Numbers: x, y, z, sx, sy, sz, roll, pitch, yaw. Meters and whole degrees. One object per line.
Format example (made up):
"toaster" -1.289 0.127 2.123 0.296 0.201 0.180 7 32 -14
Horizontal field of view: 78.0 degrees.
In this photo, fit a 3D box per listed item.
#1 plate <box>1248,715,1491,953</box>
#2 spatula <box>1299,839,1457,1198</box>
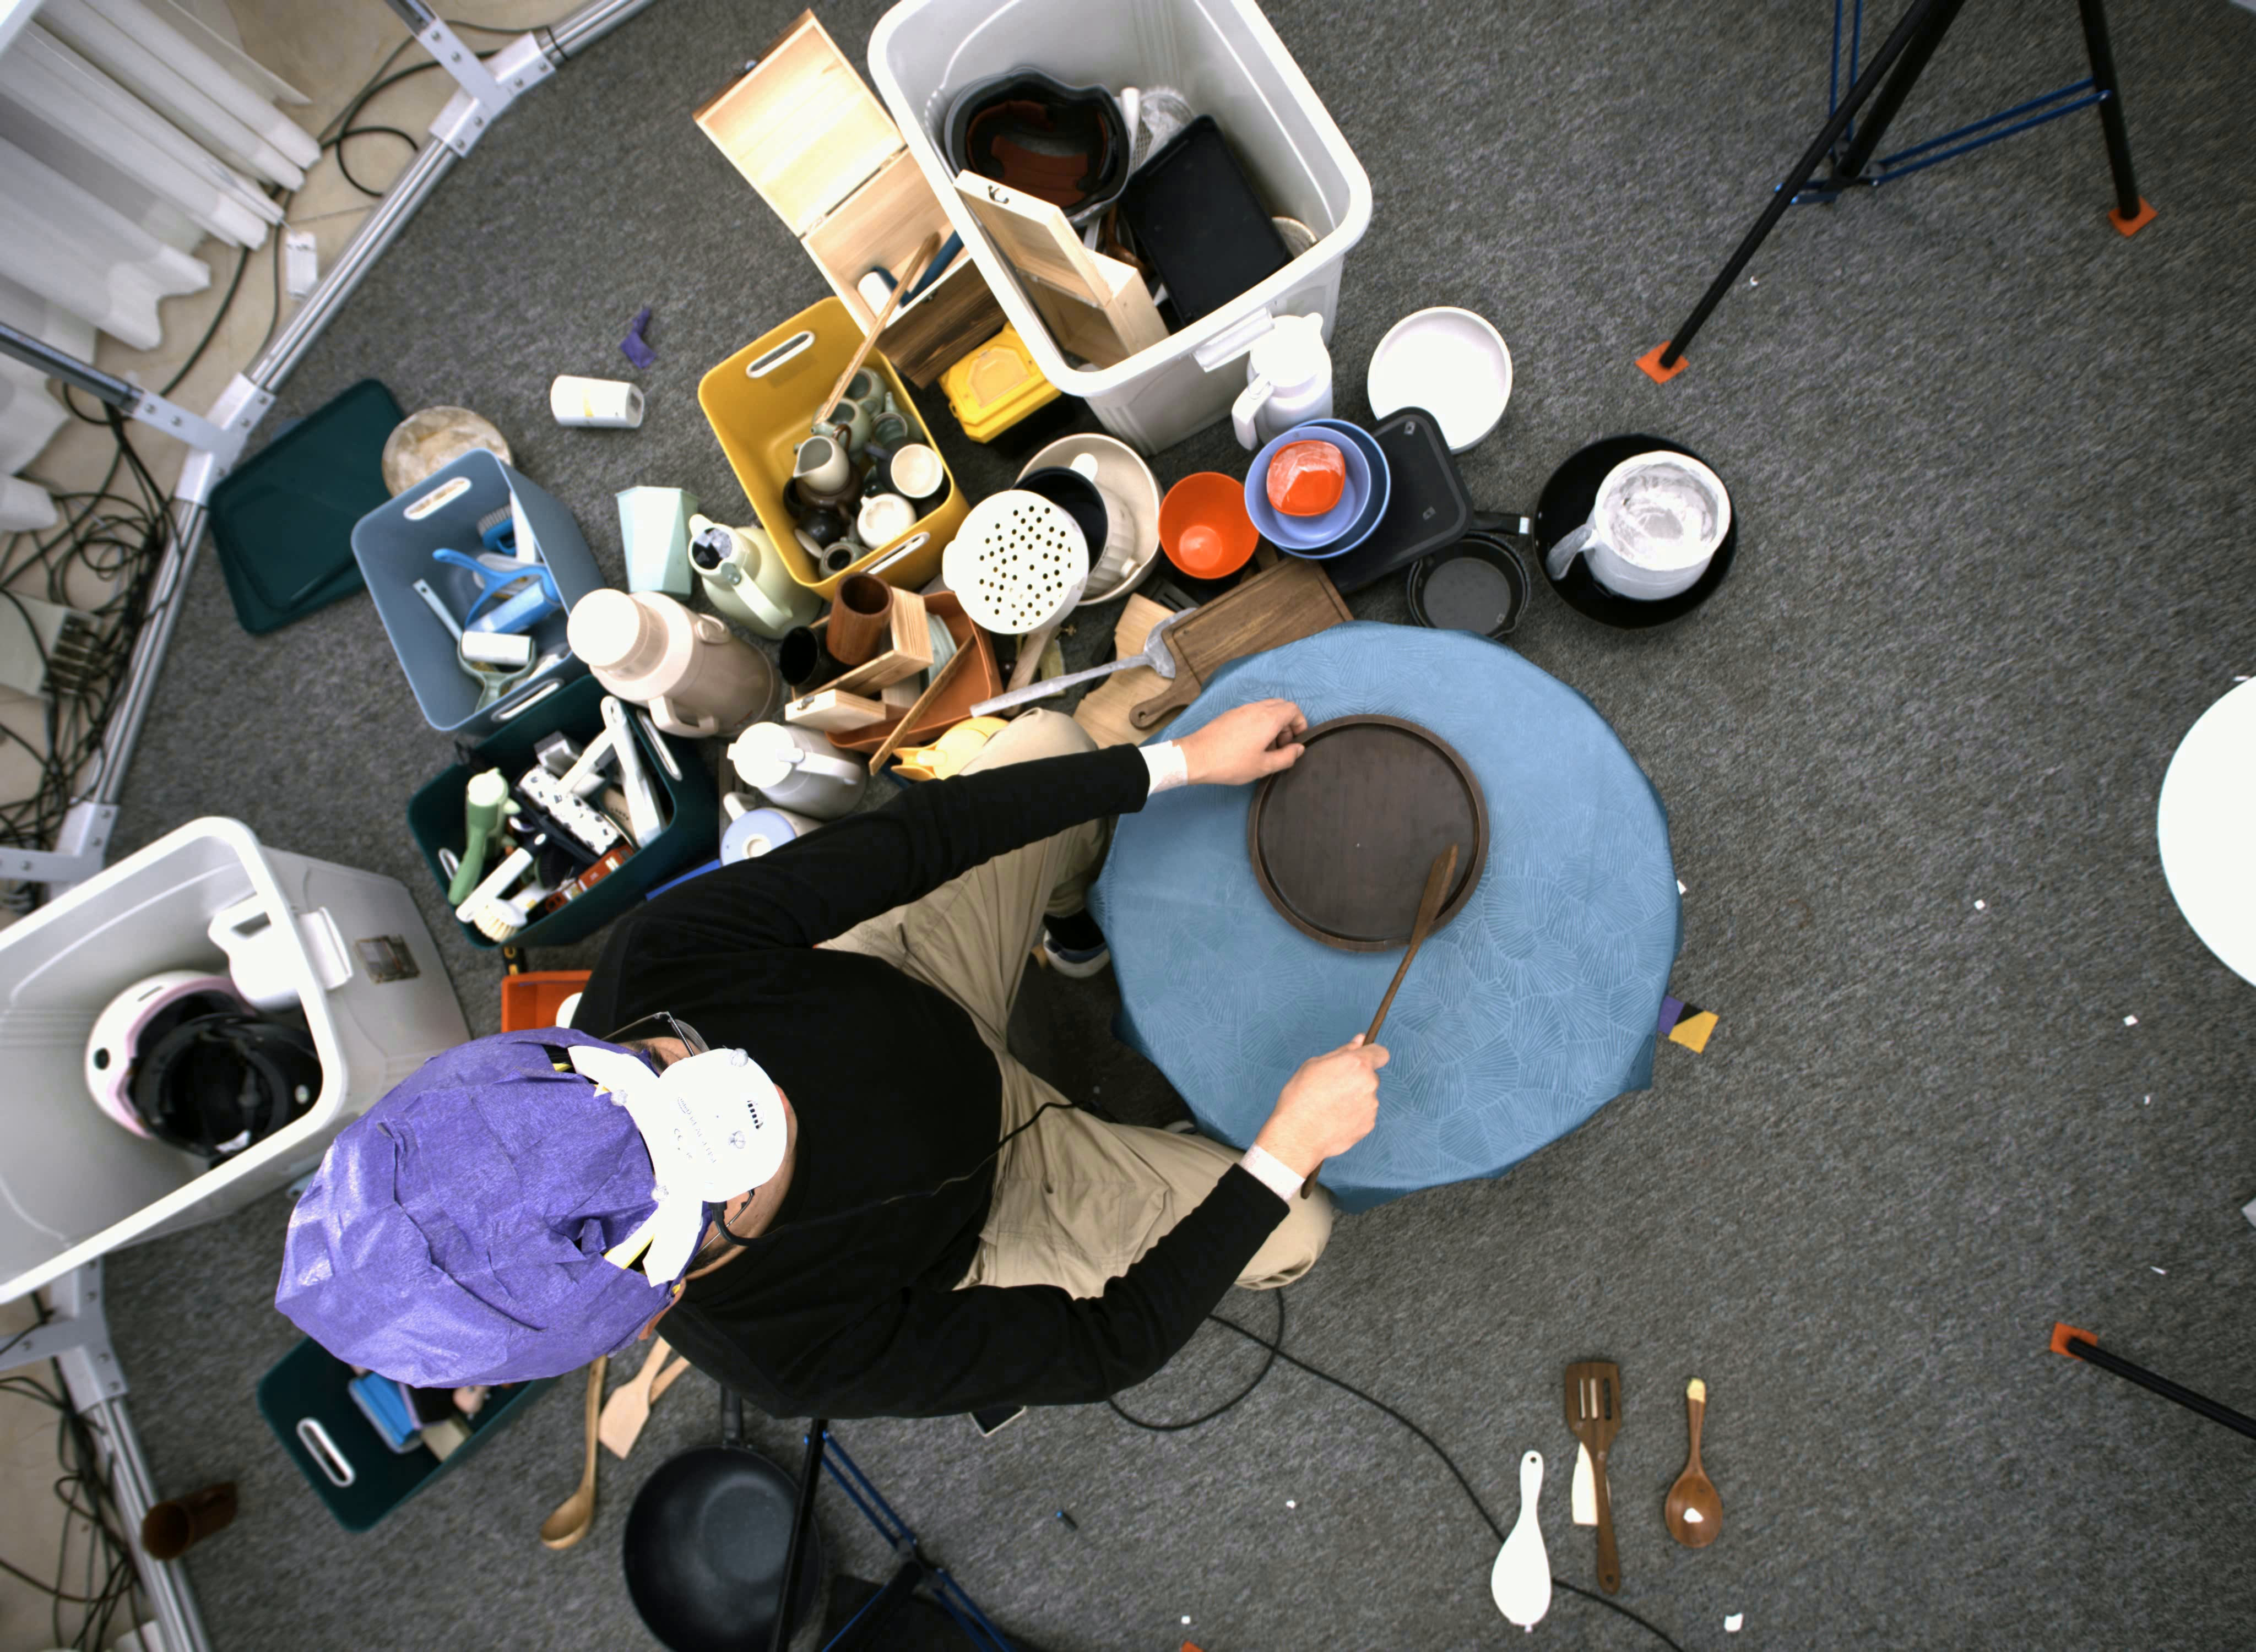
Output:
"plate" 0.253 0.006 1.455 0.256 0.029 0.254 -1 88 10
"spatula" 0.246 0.182 1.351 0.016 0.097 0.381 26 76 7
